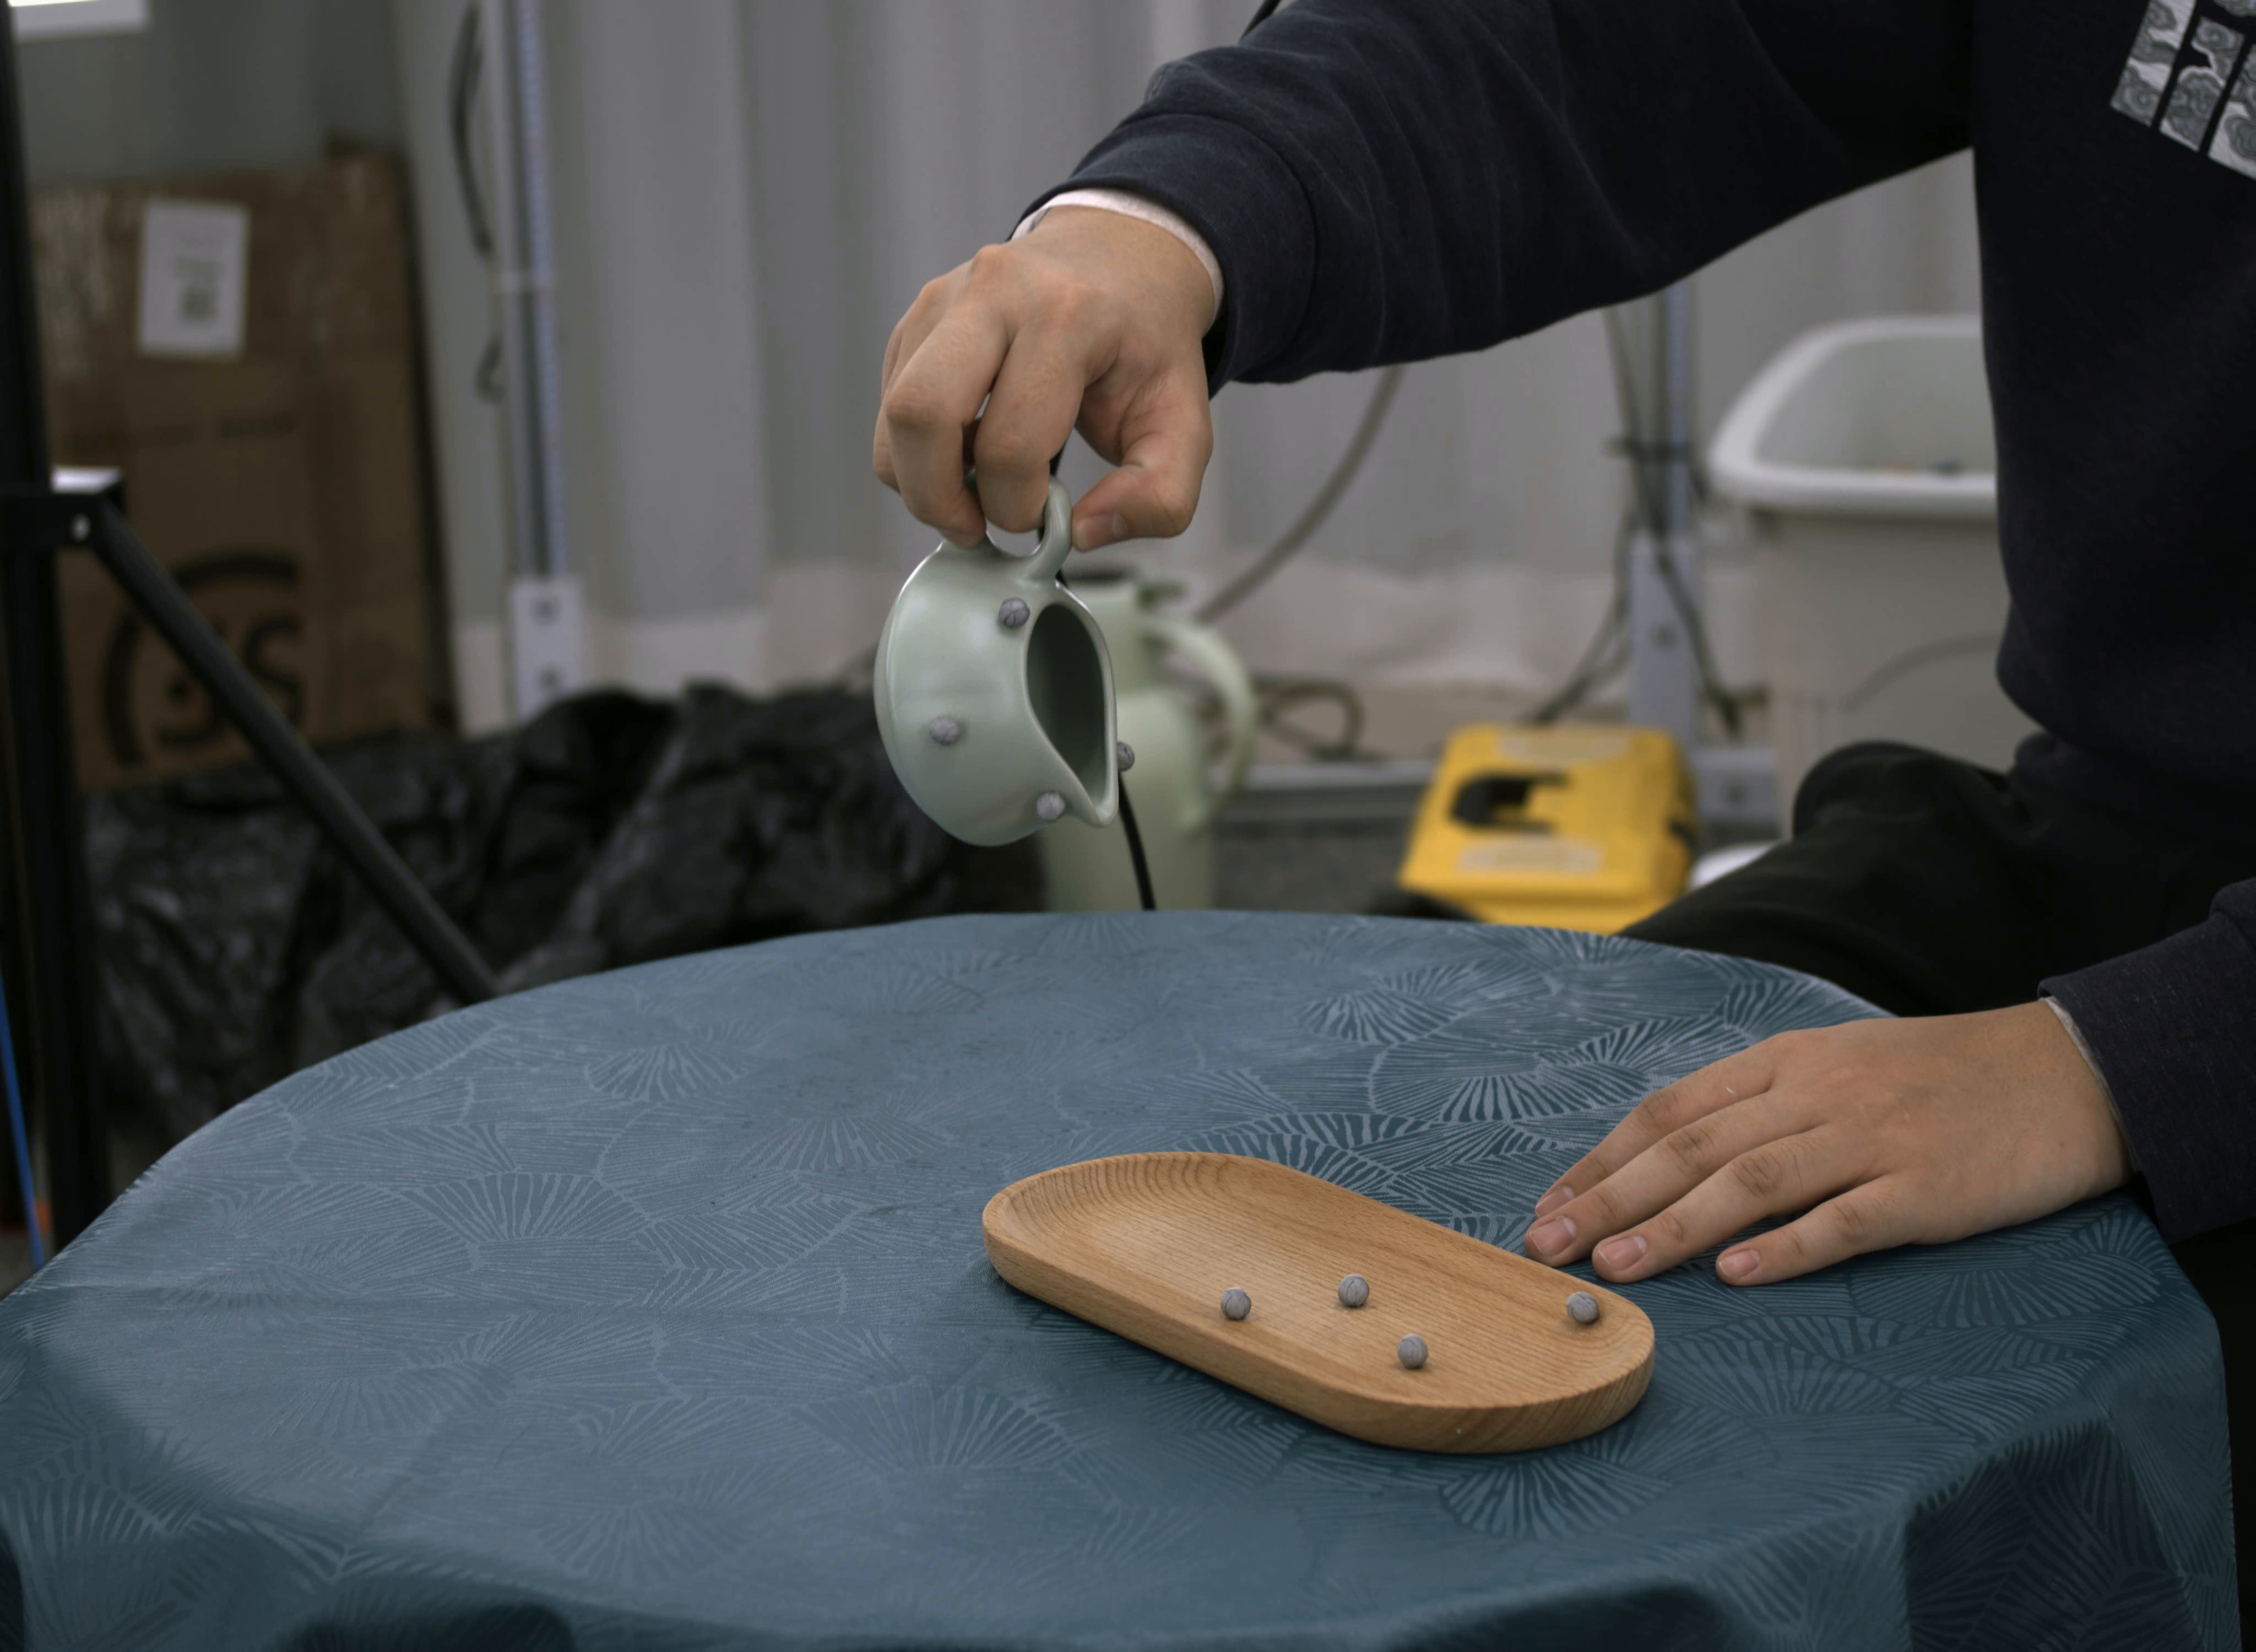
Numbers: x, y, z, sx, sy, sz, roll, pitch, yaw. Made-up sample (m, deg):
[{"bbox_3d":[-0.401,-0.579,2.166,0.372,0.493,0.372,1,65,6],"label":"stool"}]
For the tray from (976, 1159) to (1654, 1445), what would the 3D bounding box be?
[{"bbox_3d":[0.049,0.128,1.450,0.099,0.020,0.236,-12,16,-36],"label":"tray"}]

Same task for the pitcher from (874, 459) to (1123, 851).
[{"bbox_3d":[-0.037,-0.048,1.493,0.061,0.108,0.084,-9,6,32],"label":"pitcher"}]
